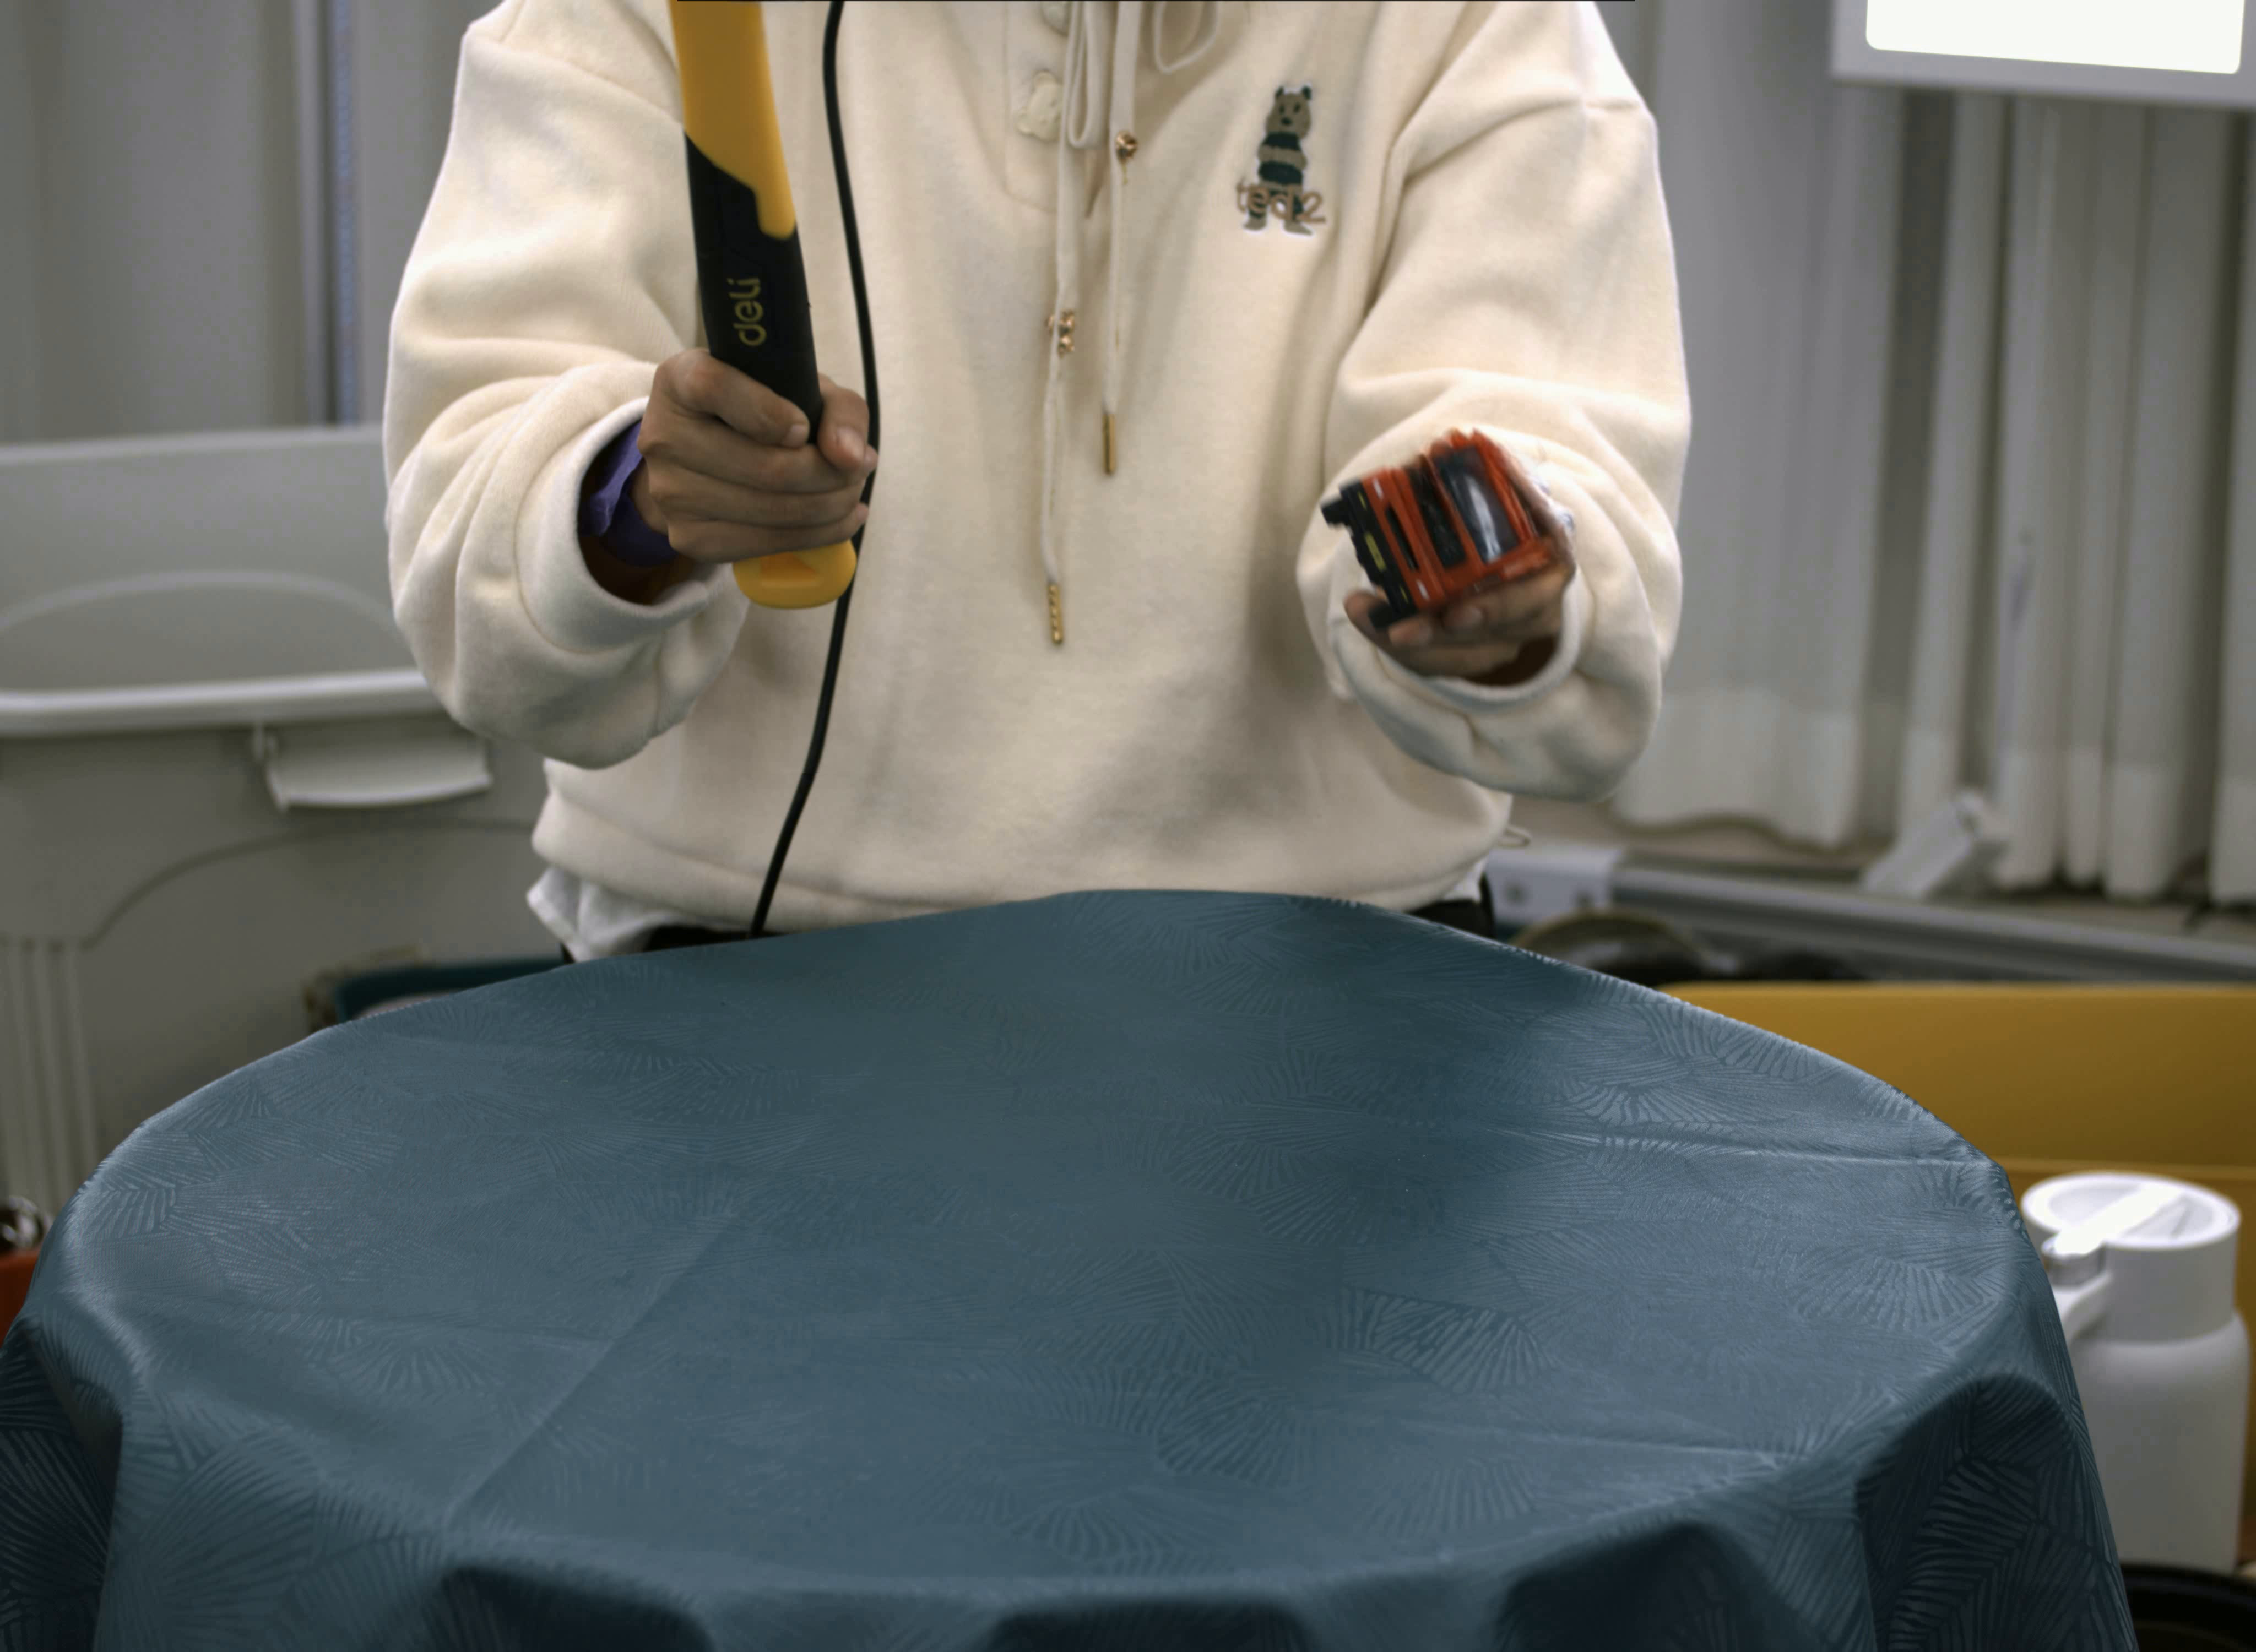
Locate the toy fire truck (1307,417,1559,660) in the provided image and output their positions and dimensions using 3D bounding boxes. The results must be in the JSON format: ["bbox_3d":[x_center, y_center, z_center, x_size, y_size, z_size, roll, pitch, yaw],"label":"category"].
[{"bbox_3d":[0.098,-0.088,1.605,0.070,0.054,0.168,-24,0,5],"label":"toy fire truck"}]

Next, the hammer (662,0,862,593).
[{"bbox_3d":[-0.123,-0.200,1.662,0.131,0.343,0.032,-1,49,4],"label":"hammer"}]
